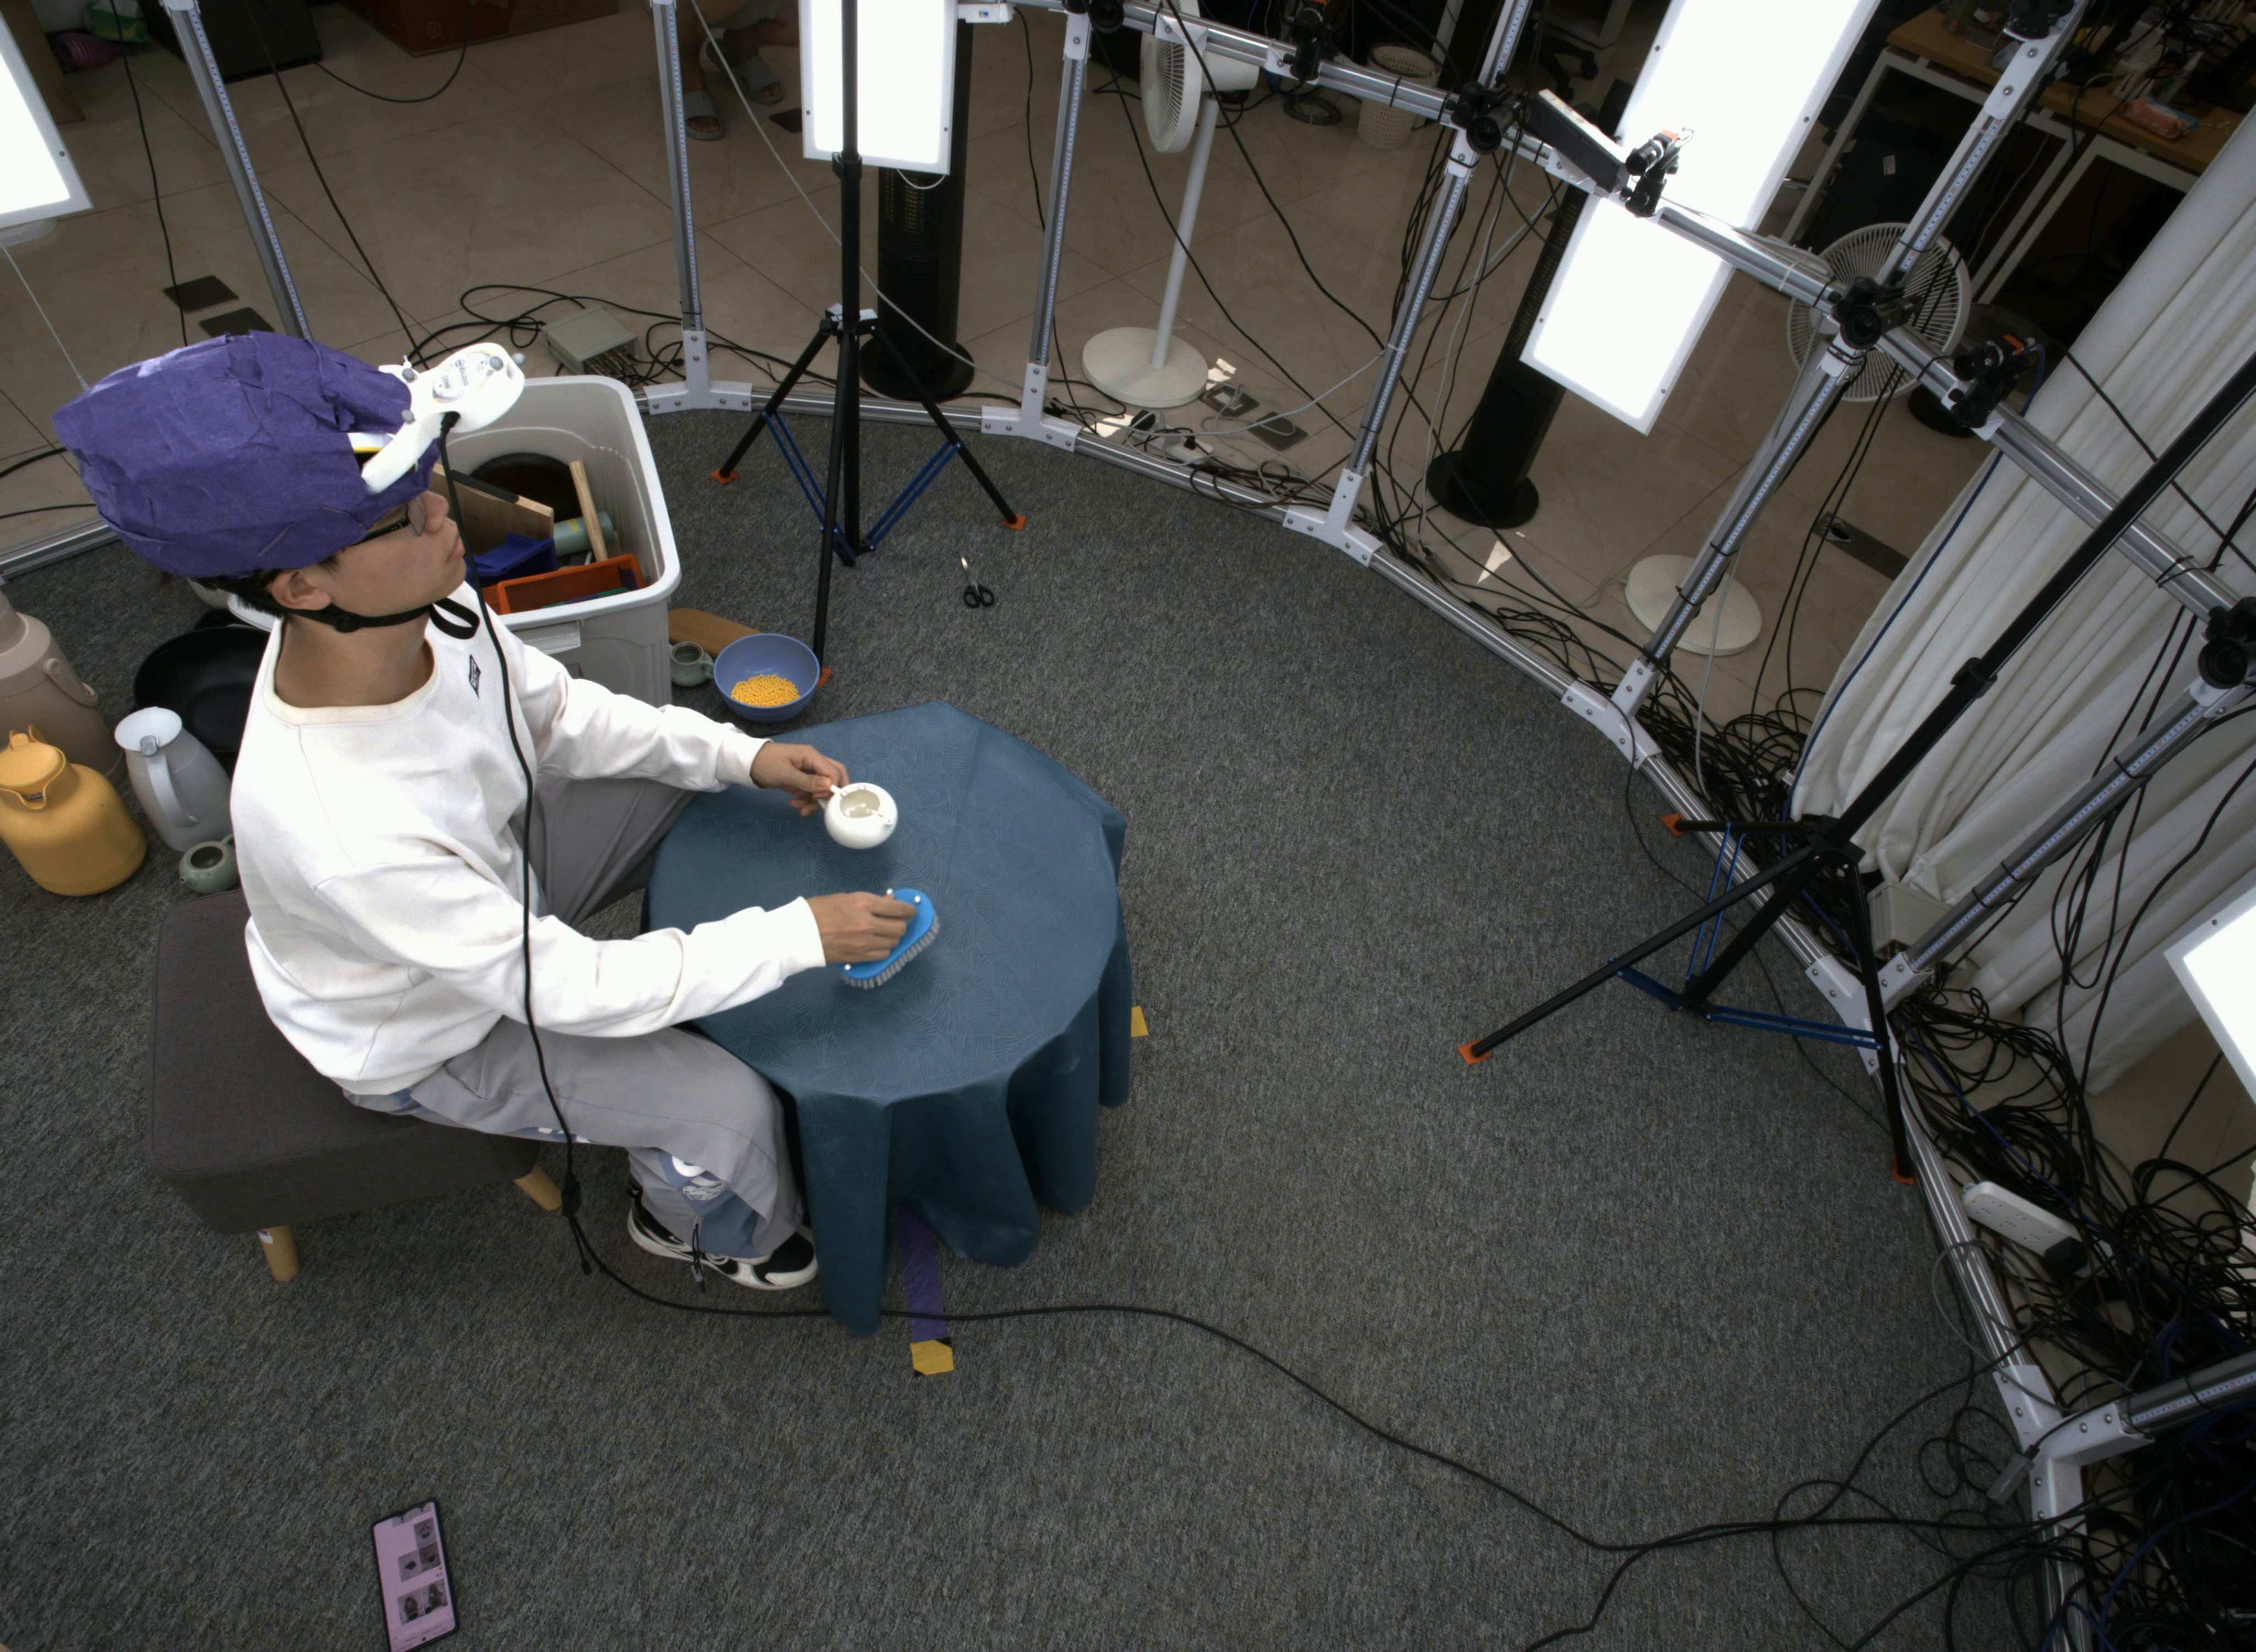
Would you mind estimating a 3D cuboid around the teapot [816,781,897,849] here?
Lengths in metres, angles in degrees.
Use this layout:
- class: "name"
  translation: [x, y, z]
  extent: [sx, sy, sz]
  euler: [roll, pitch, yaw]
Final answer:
- class: "teapot"
  translation: [-0.355, -0.019, 1.682]
  extent: [0.124, 0.058, 0.093]
  euler: [24, 54, 15]

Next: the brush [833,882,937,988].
- class: "brush"
  translation: [-0.293, 0.126, 1.572]
  extent: [0.083, 0.065, 0.142]
  euler: [40, 72, 15]
